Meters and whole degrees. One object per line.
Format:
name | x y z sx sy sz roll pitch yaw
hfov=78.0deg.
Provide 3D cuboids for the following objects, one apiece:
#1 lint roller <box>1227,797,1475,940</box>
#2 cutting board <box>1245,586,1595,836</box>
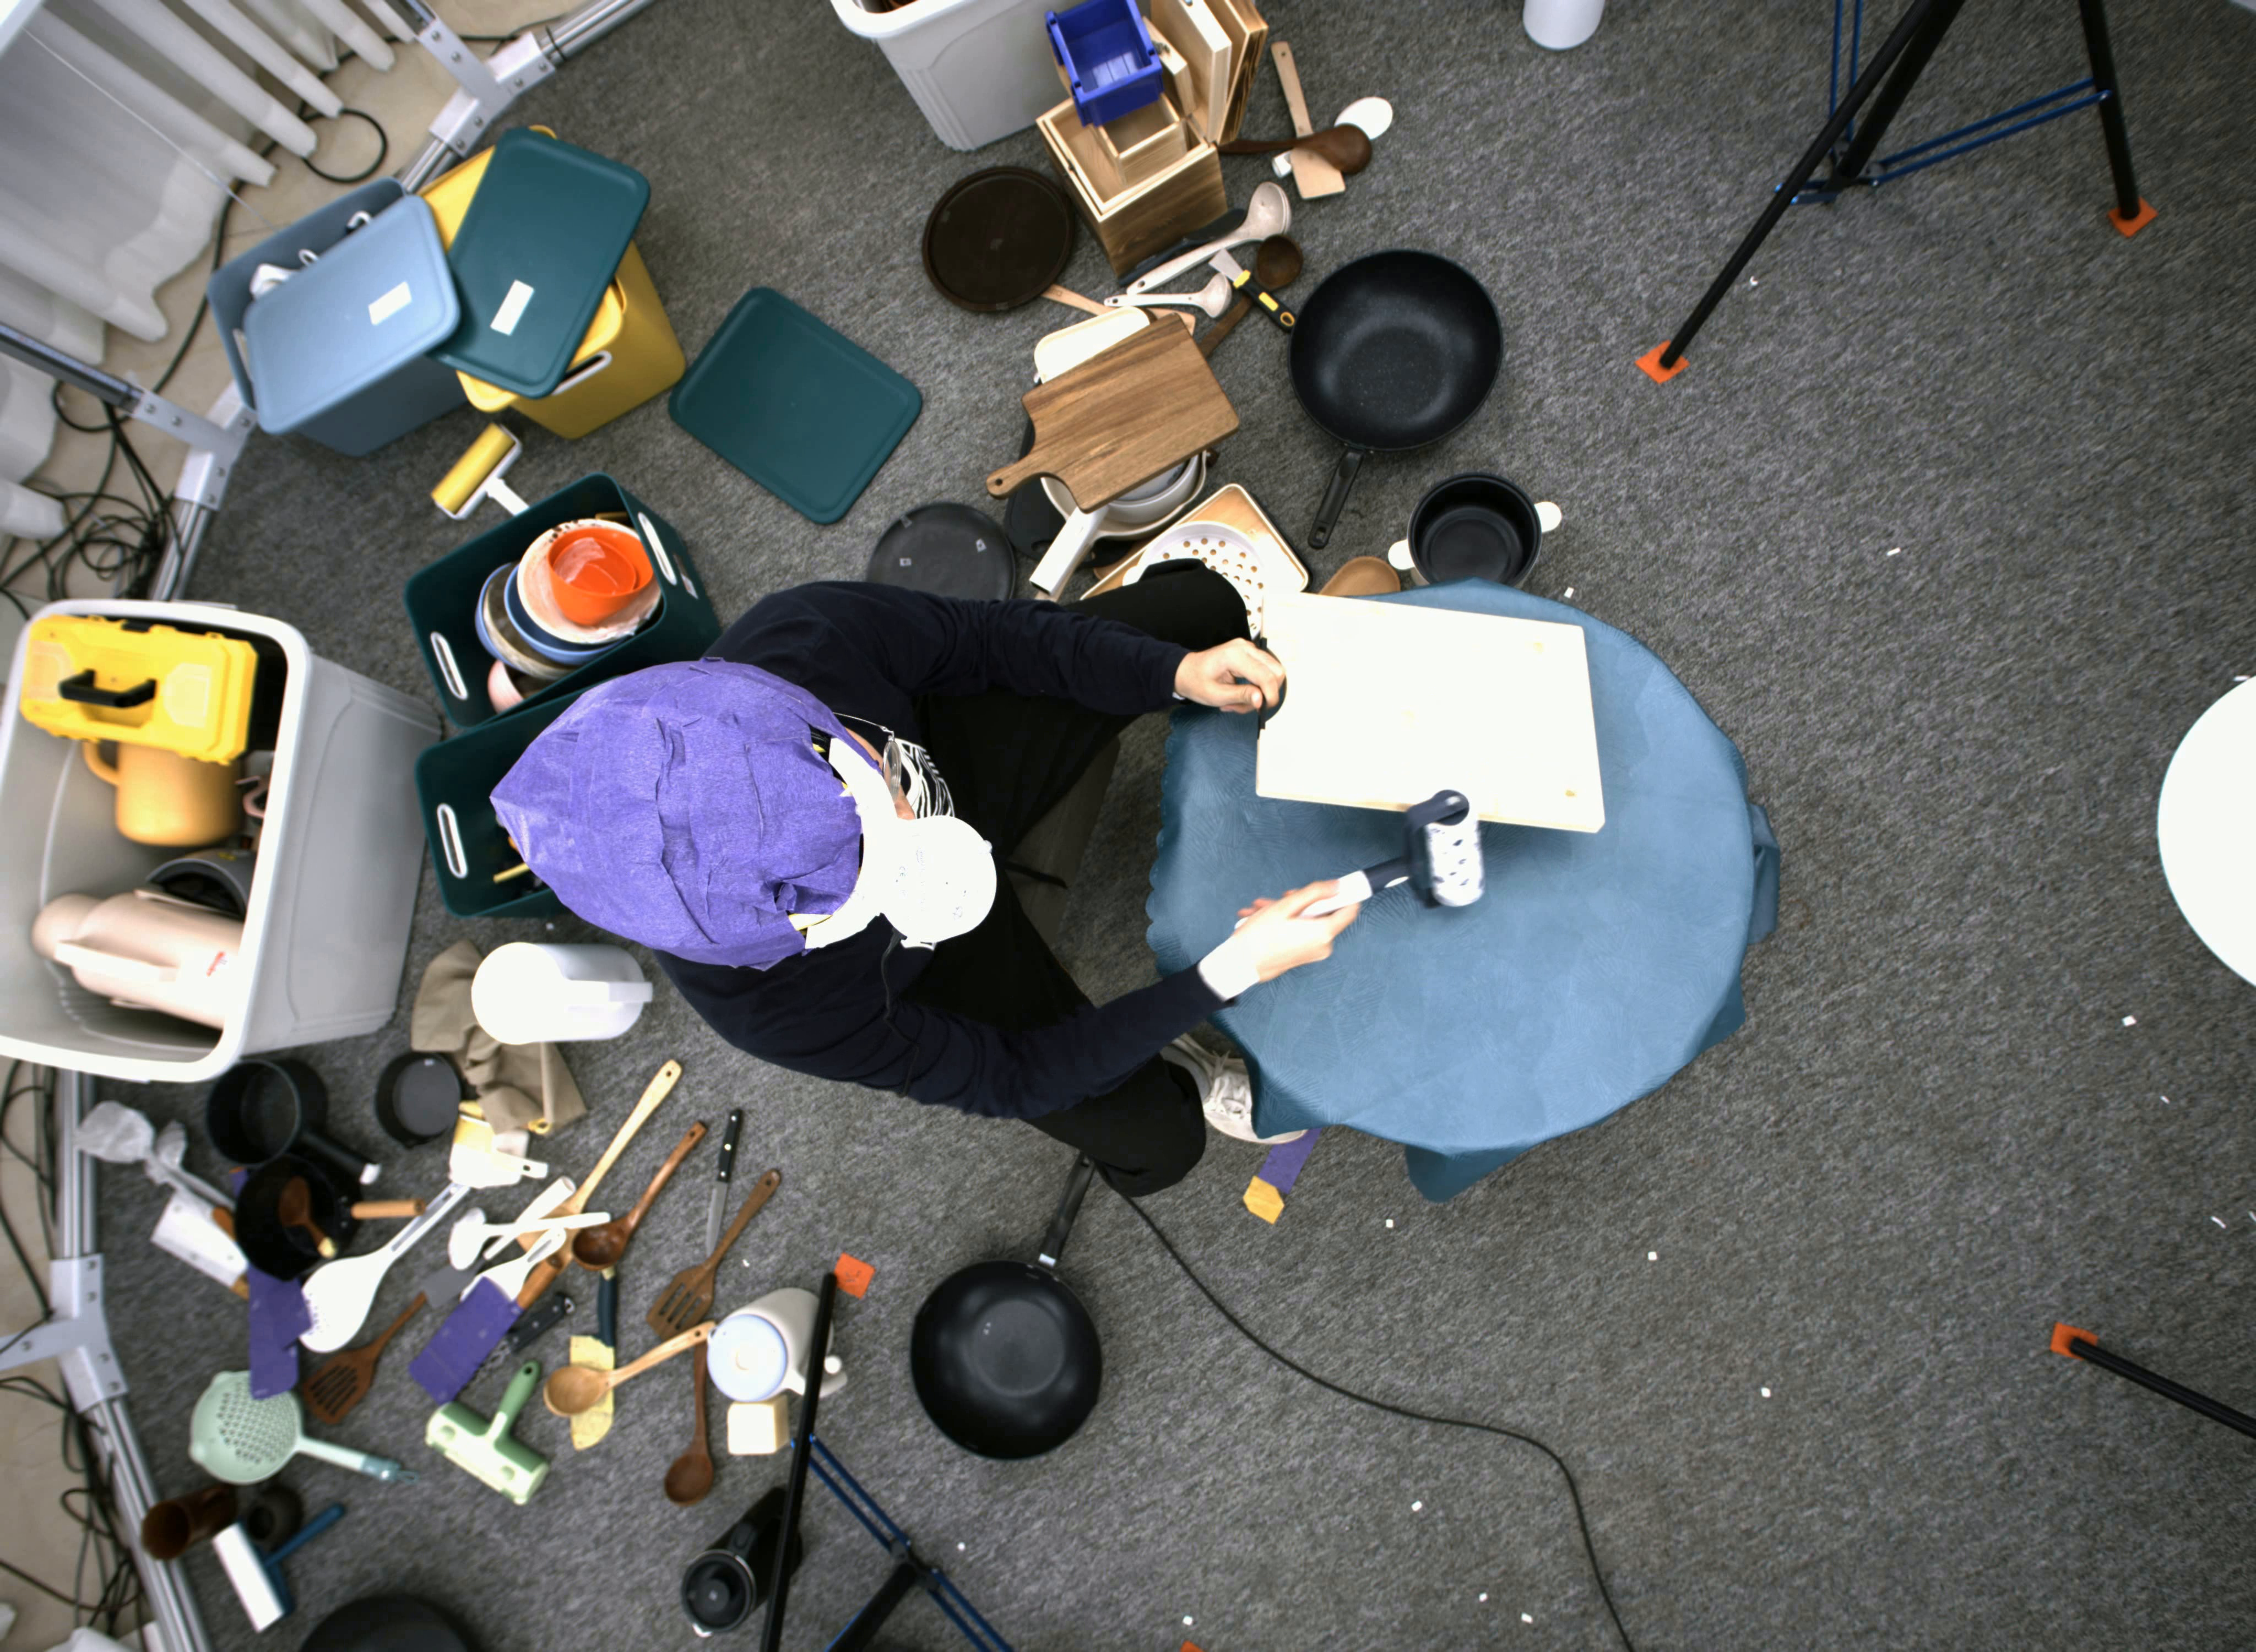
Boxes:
lint roller | 0.217 0.067 1.339 0.247 0.180 0.049 -20 56 -1
cutting board | 0.292 -0.120 1.372 0.349 0.024 0.245 5 63 -3
